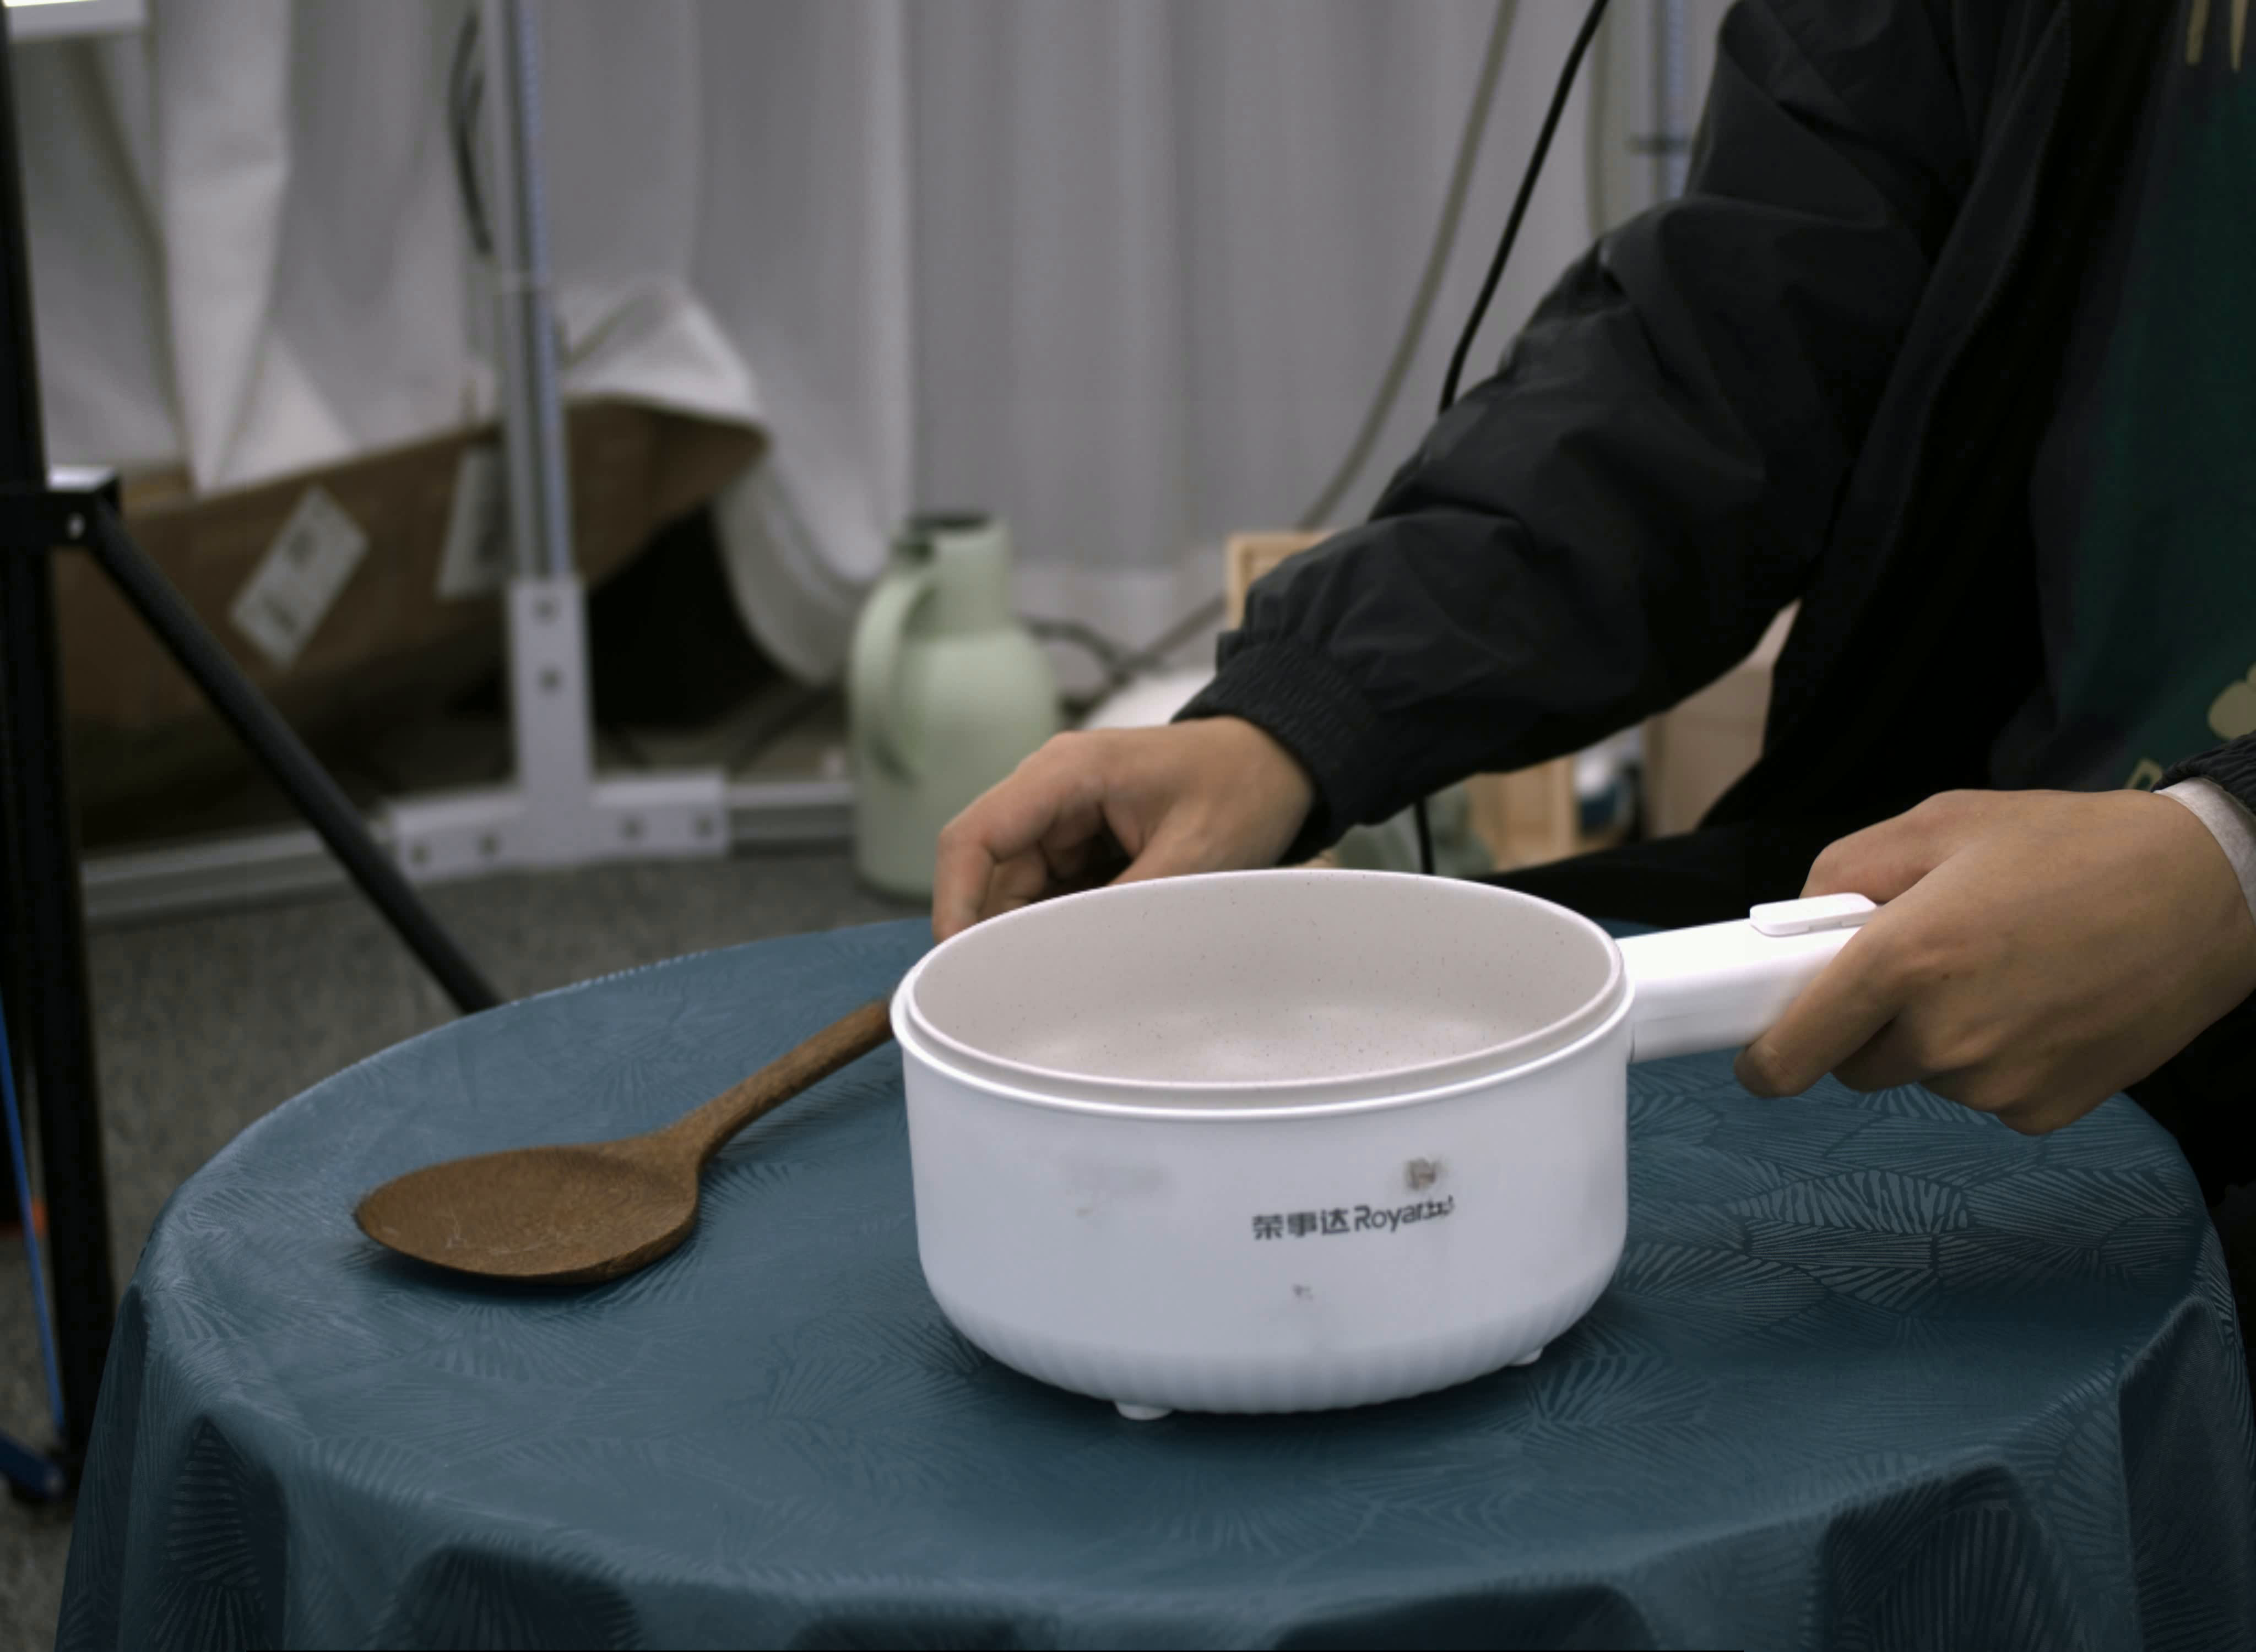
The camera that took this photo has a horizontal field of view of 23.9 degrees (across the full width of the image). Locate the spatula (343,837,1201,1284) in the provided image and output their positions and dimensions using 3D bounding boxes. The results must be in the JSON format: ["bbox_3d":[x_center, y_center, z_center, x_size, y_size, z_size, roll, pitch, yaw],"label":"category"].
[{"bbox_3d":[-0.090,0.065,1.654,0.098,0.016,0.379,14,27,33],"label":"spatula"}]

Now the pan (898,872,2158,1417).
[{"bbox_3d":[0.113,0.080,1.455,0.350,0.102,0.204,-5,15,-12],"label":"pan"}]
